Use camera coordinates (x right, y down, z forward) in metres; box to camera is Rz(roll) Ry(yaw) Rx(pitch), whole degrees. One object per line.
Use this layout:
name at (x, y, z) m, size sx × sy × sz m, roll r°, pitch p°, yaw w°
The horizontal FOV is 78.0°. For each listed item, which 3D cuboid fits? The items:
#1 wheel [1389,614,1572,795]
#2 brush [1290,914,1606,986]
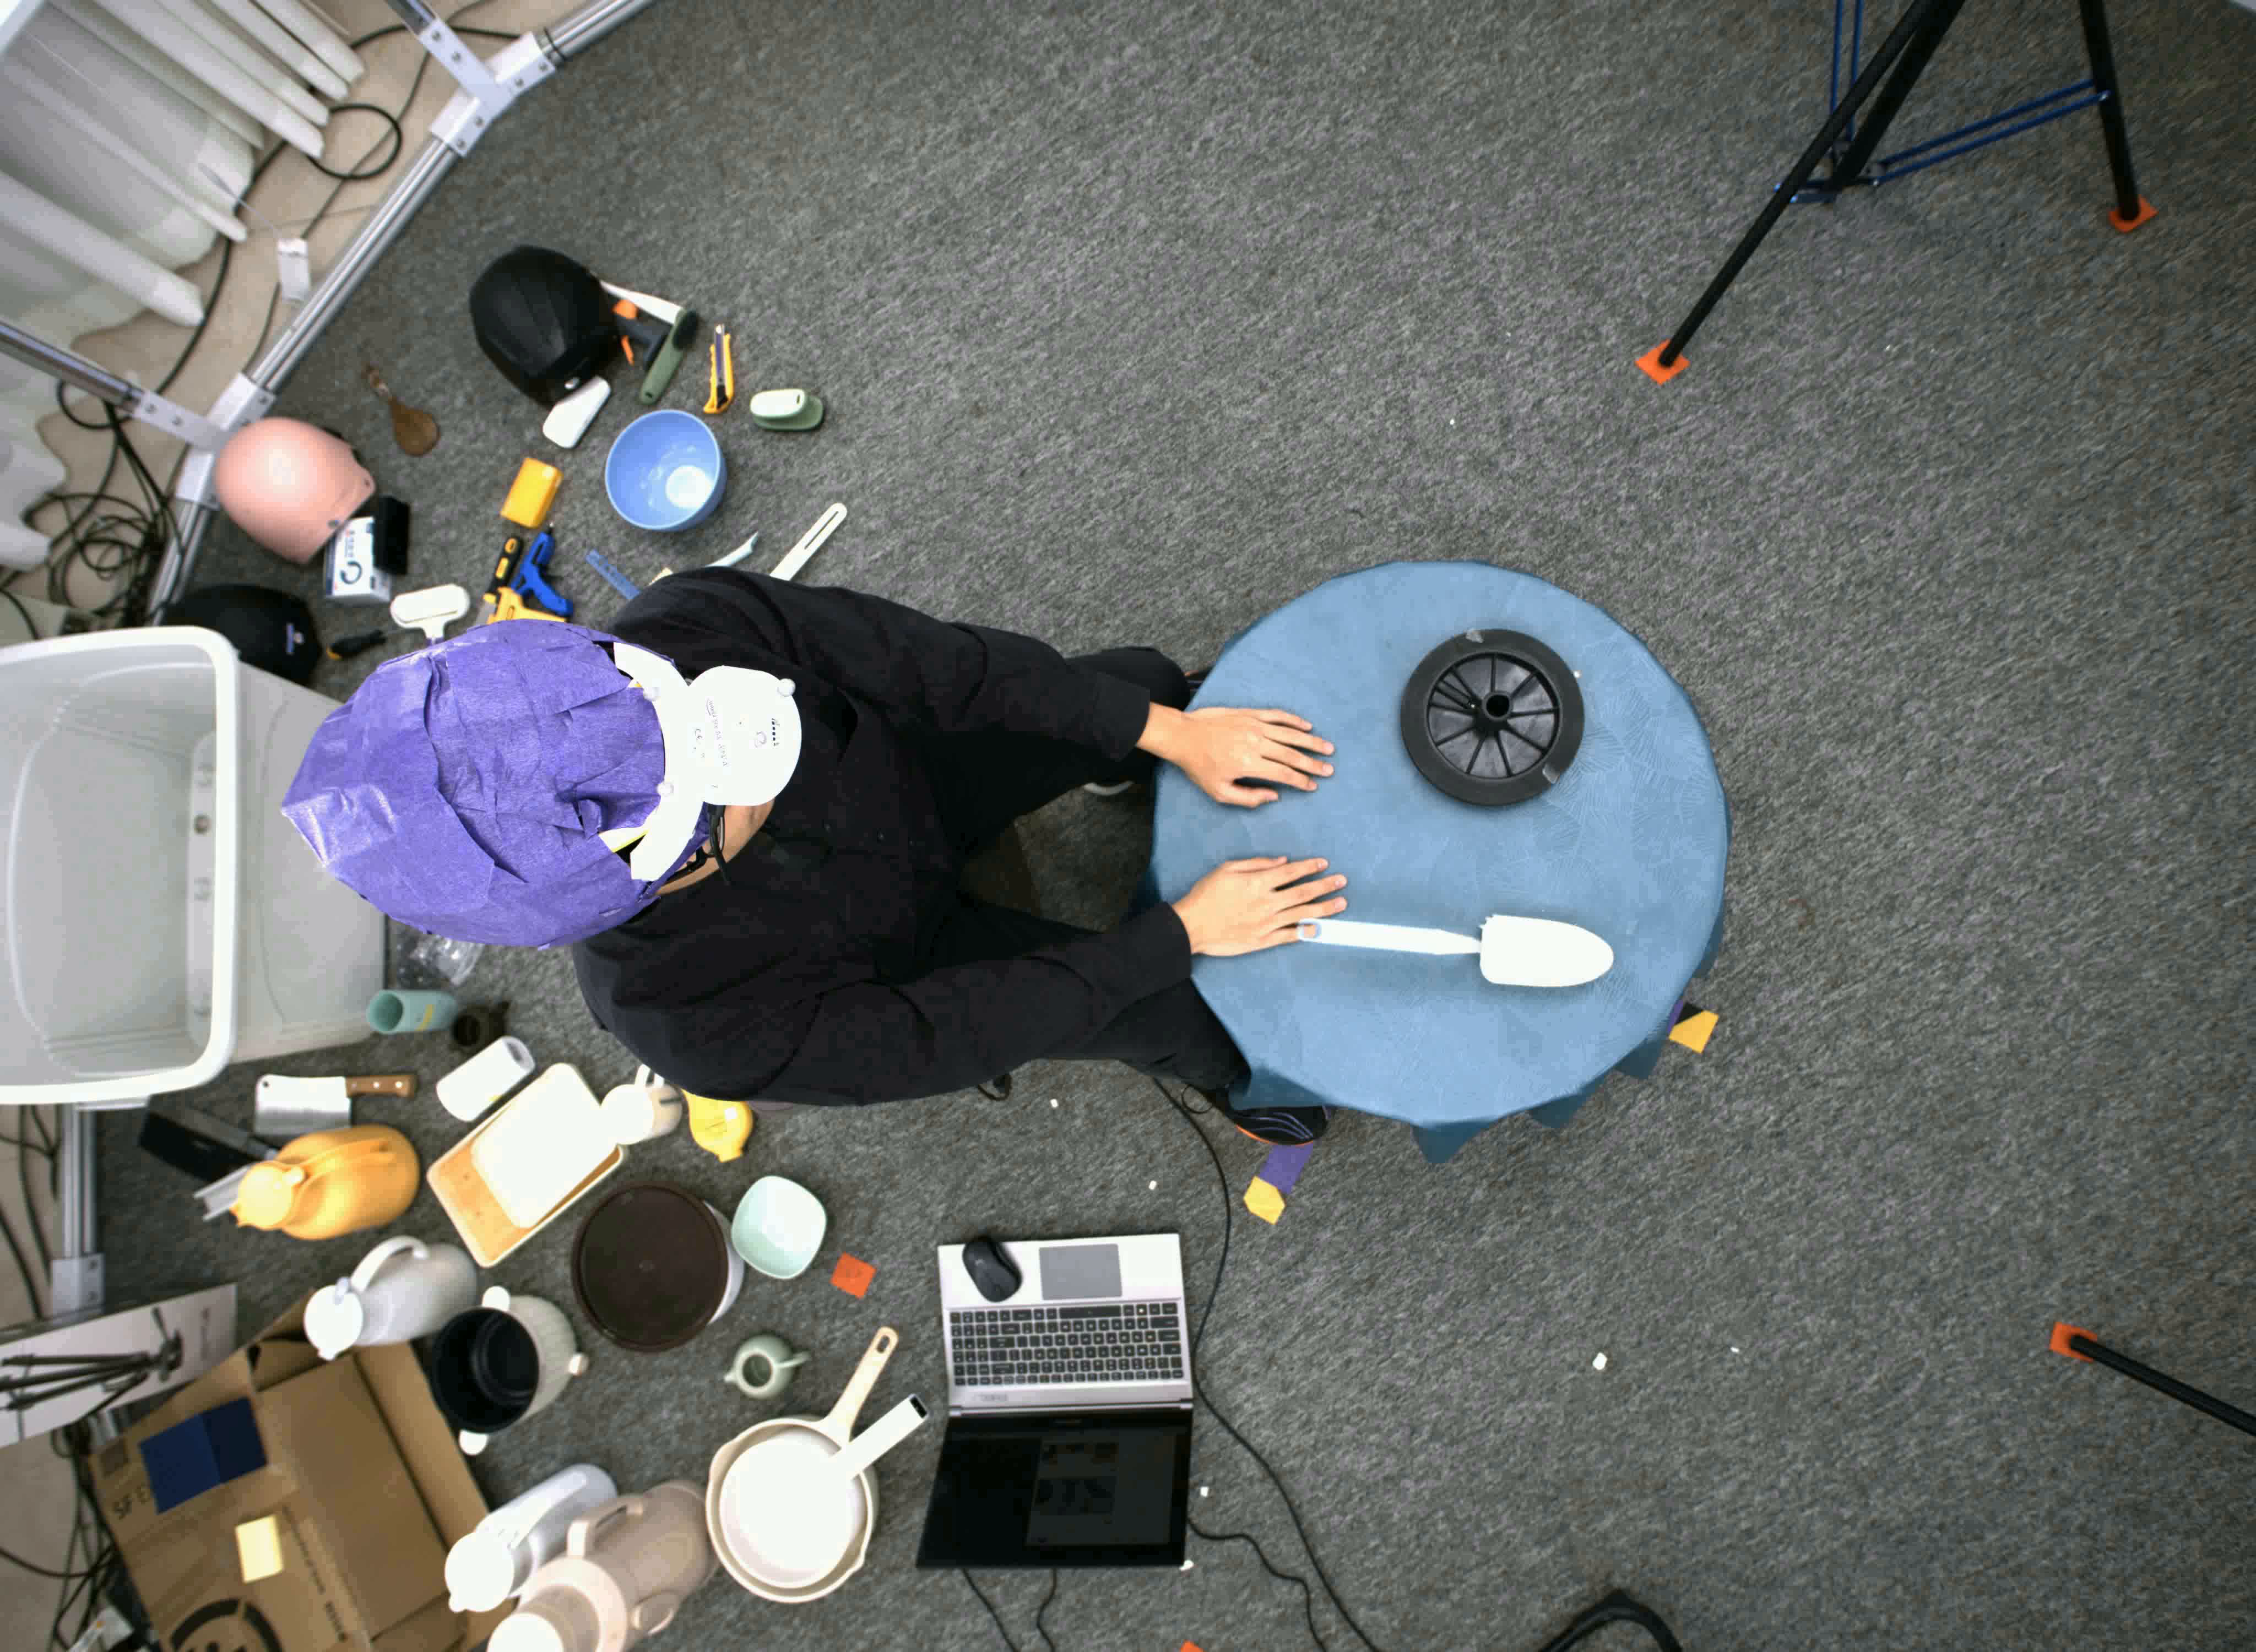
wheel at (0.363, -0.131, 1.410) m, size 0.187 × 0.079 × 0.190 m, roll 33°, pitch 94°, yaw 10°
brush at (0.322, 0.114, 1.405) m, size 0.326 × 0.087 × 0.081 m, roll 6°, pitch 49°, yaw -1°
